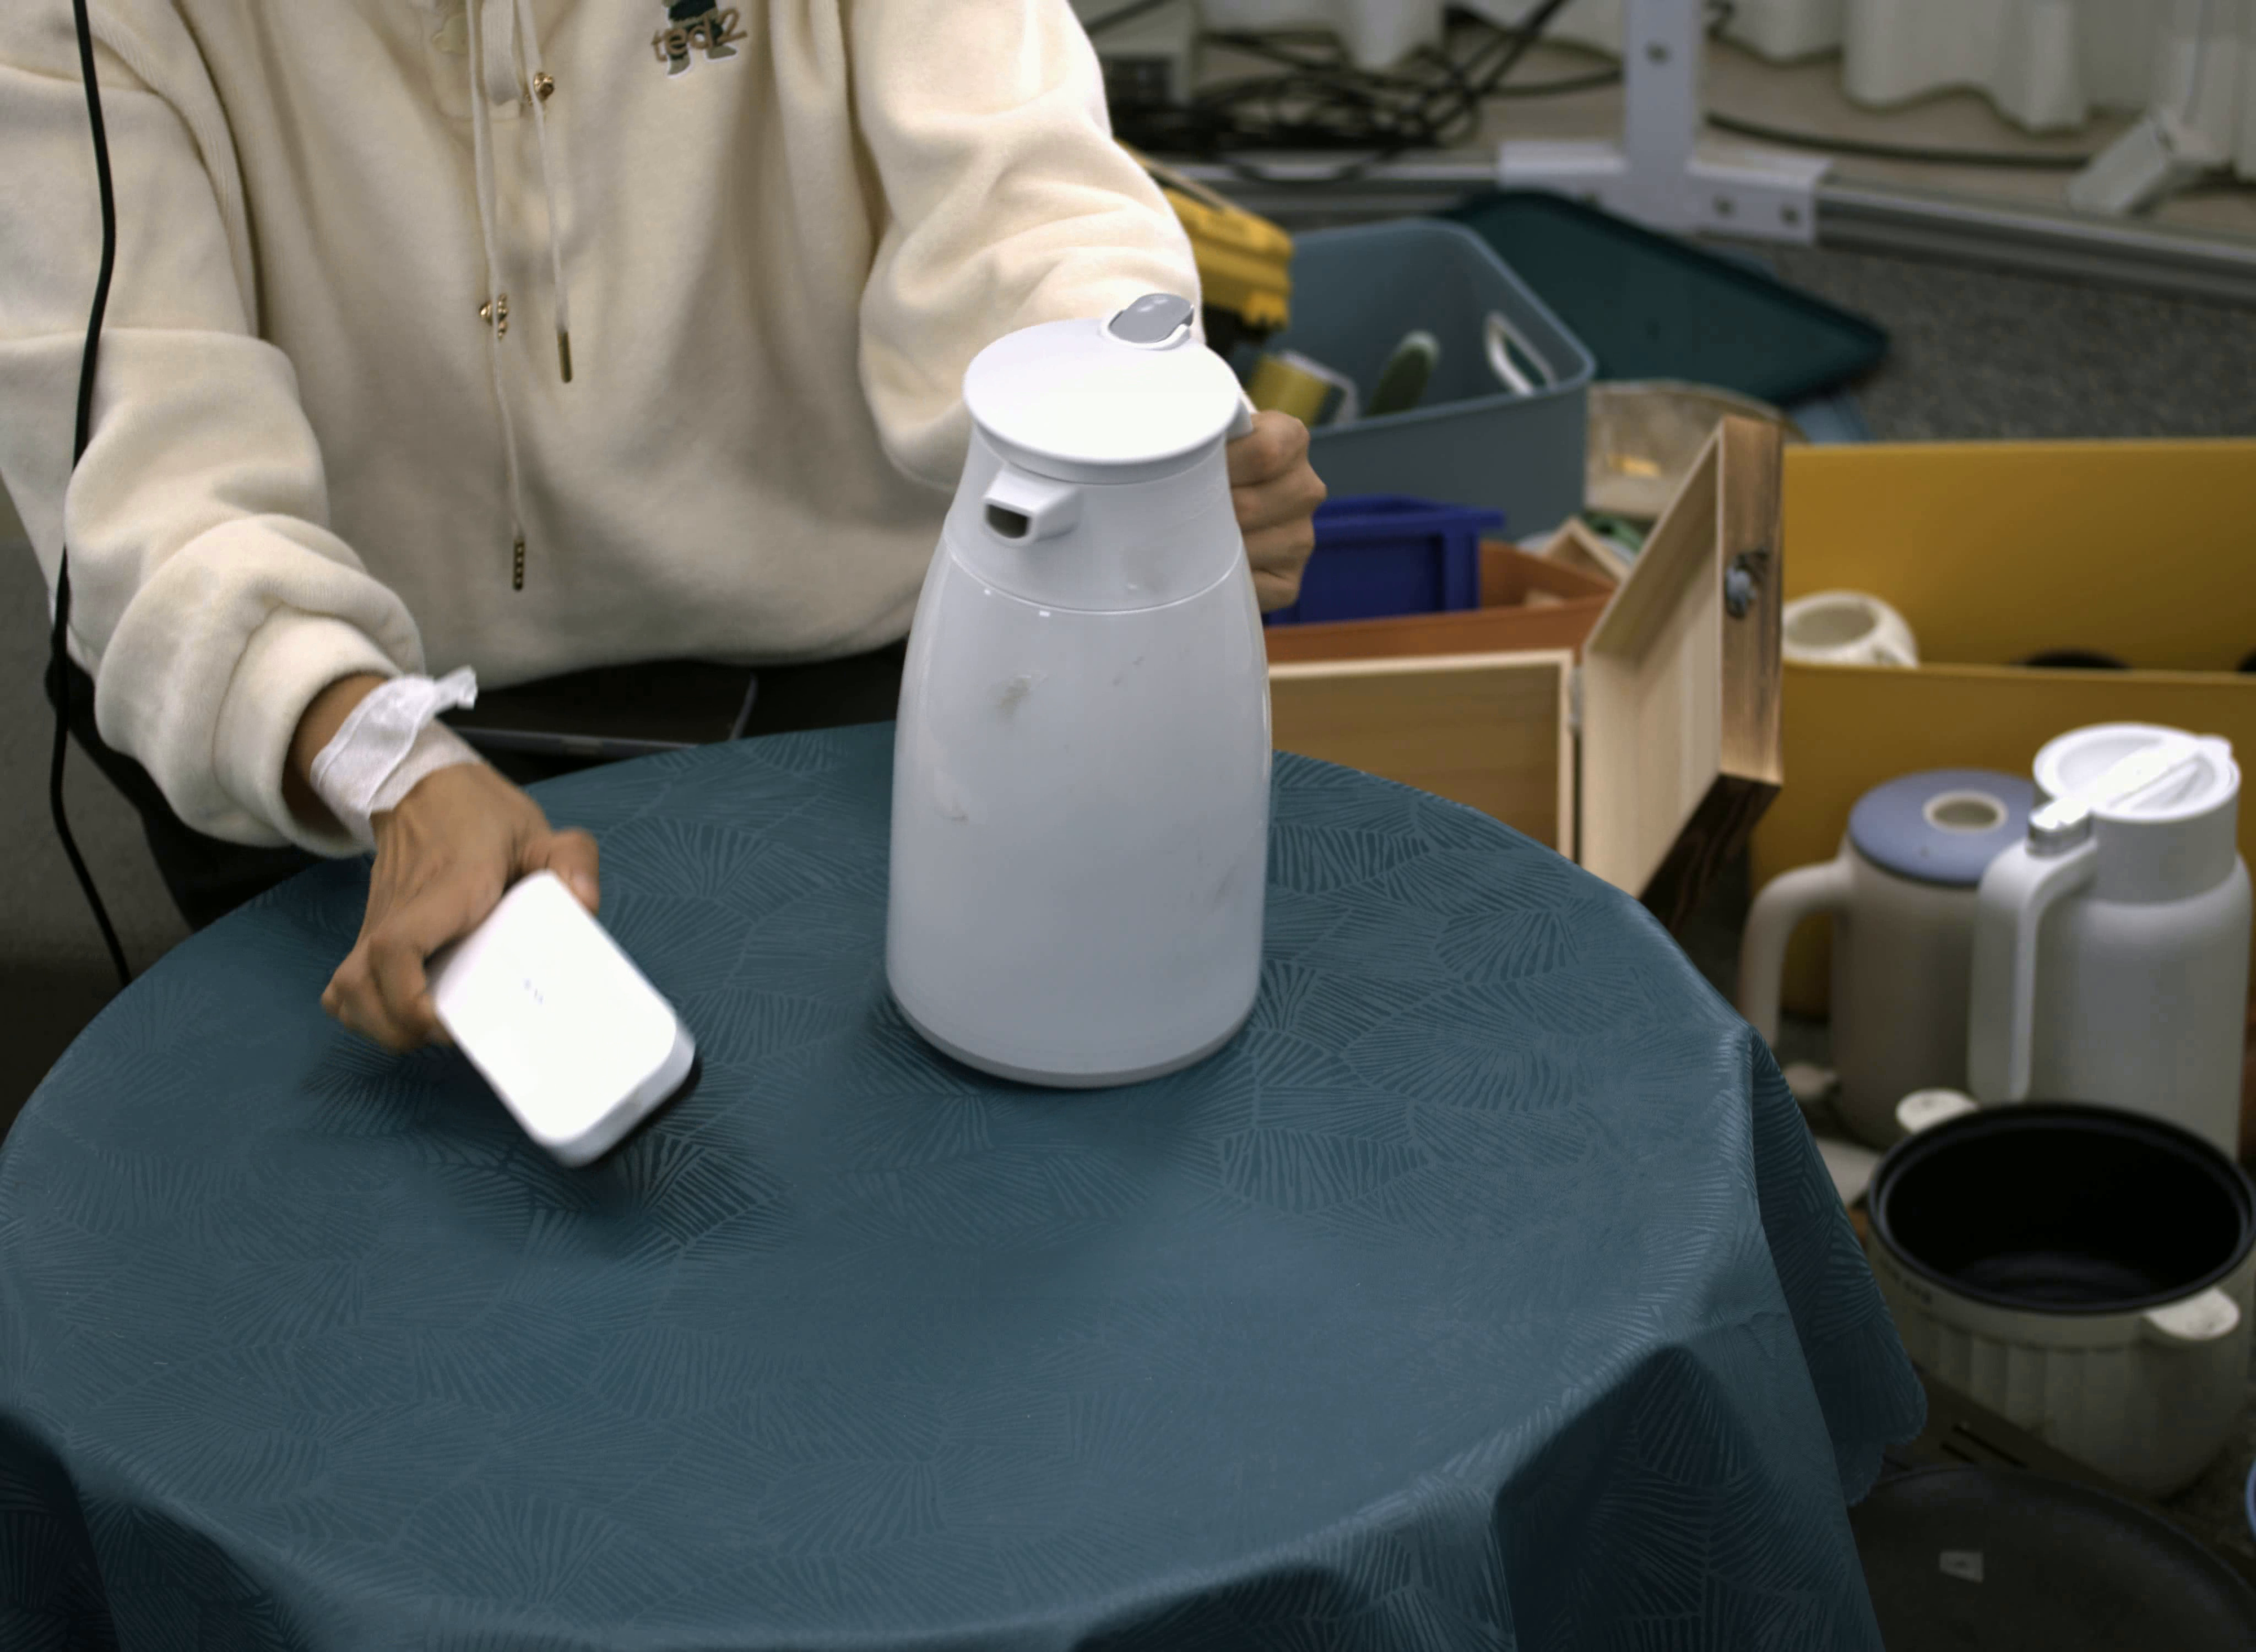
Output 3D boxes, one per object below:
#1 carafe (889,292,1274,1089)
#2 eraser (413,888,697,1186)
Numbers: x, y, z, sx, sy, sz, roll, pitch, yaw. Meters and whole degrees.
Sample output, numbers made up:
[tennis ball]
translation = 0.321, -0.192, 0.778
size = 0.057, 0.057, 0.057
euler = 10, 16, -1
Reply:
[carafe]
translation = -0.006, -0.058, 1.922
size = 0.132, 0.245, 0.170
euler = 17, 34, 22
[eraser]
translation = -0.193, 0.069, 1.894
size = 0.063, 0.034, 0.132
euler = -38, 39, -6
